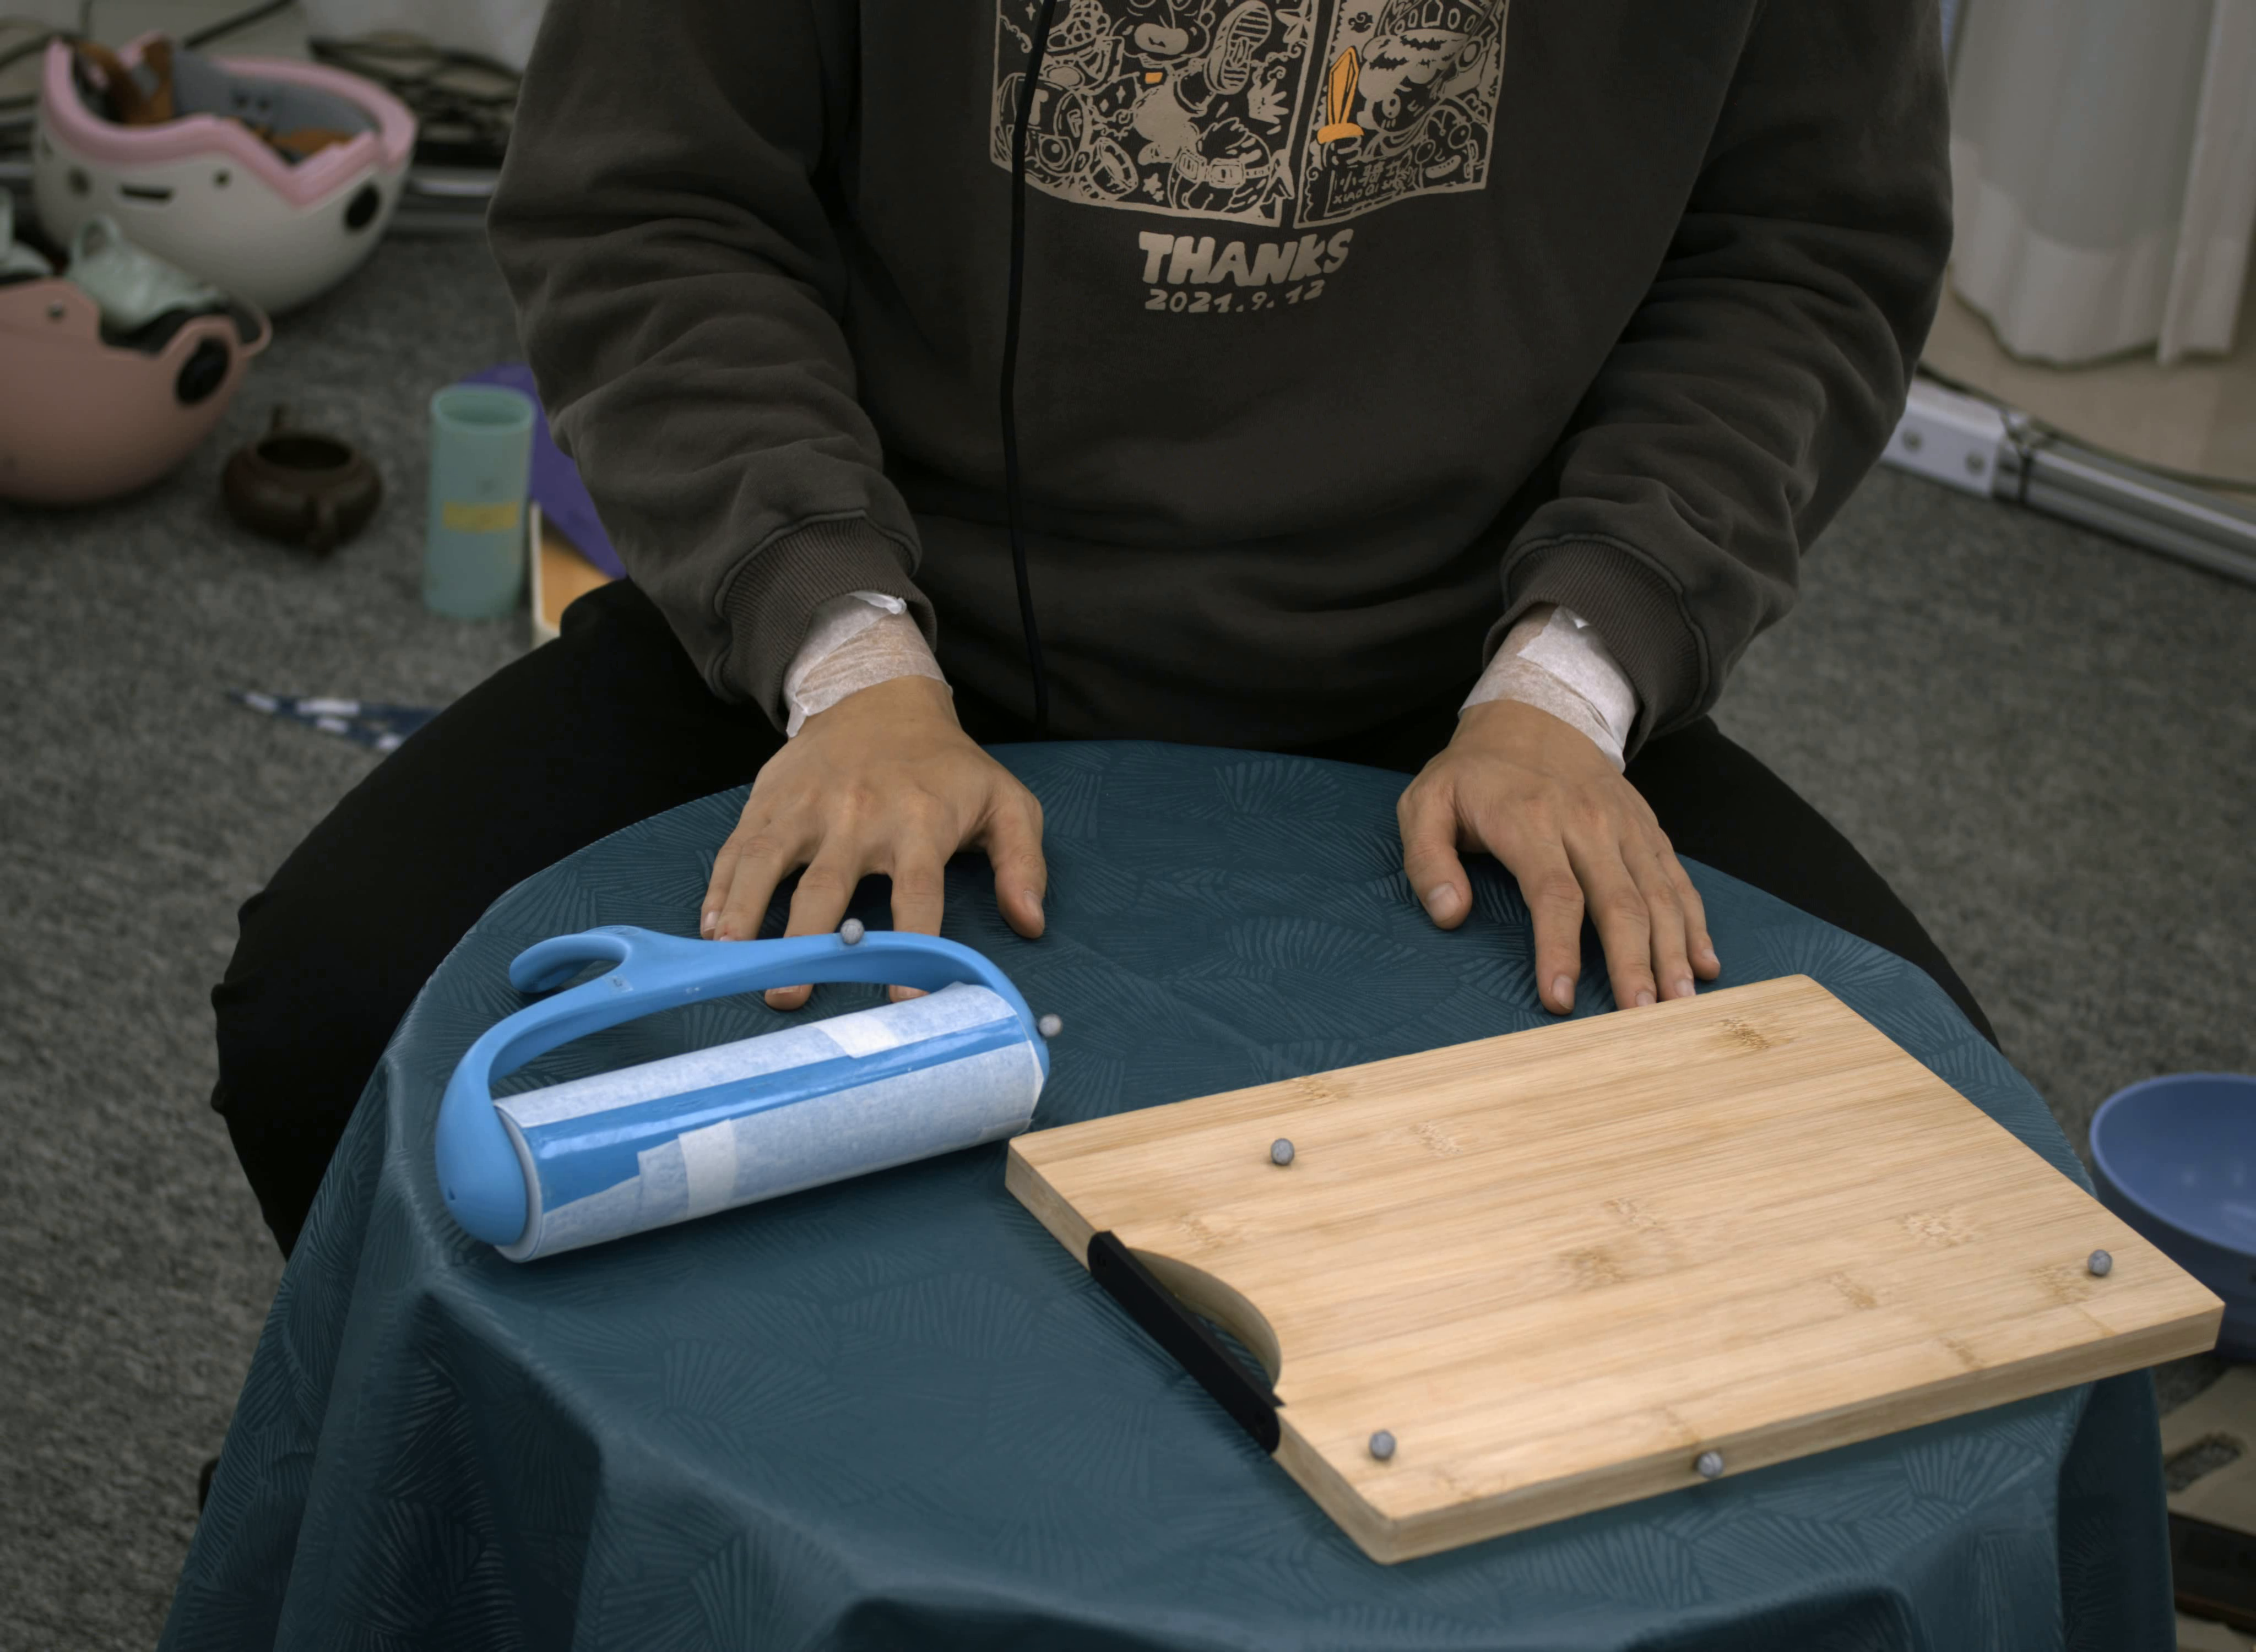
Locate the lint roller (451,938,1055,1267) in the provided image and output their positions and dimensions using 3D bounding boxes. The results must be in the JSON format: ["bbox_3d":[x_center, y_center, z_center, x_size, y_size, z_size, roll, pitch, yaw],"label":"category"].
[{"bbox_3d":[-0.157,0.073,1.806,0.227,0.068,0.182,-15,34,-36],"label":"lint roller"}]

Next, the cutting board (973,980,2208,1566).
[{"bbox_3d":[0.156,0.142,1.785,0.346,0.023,0.253,-10,30,-30],"label":"cutting board"}]
